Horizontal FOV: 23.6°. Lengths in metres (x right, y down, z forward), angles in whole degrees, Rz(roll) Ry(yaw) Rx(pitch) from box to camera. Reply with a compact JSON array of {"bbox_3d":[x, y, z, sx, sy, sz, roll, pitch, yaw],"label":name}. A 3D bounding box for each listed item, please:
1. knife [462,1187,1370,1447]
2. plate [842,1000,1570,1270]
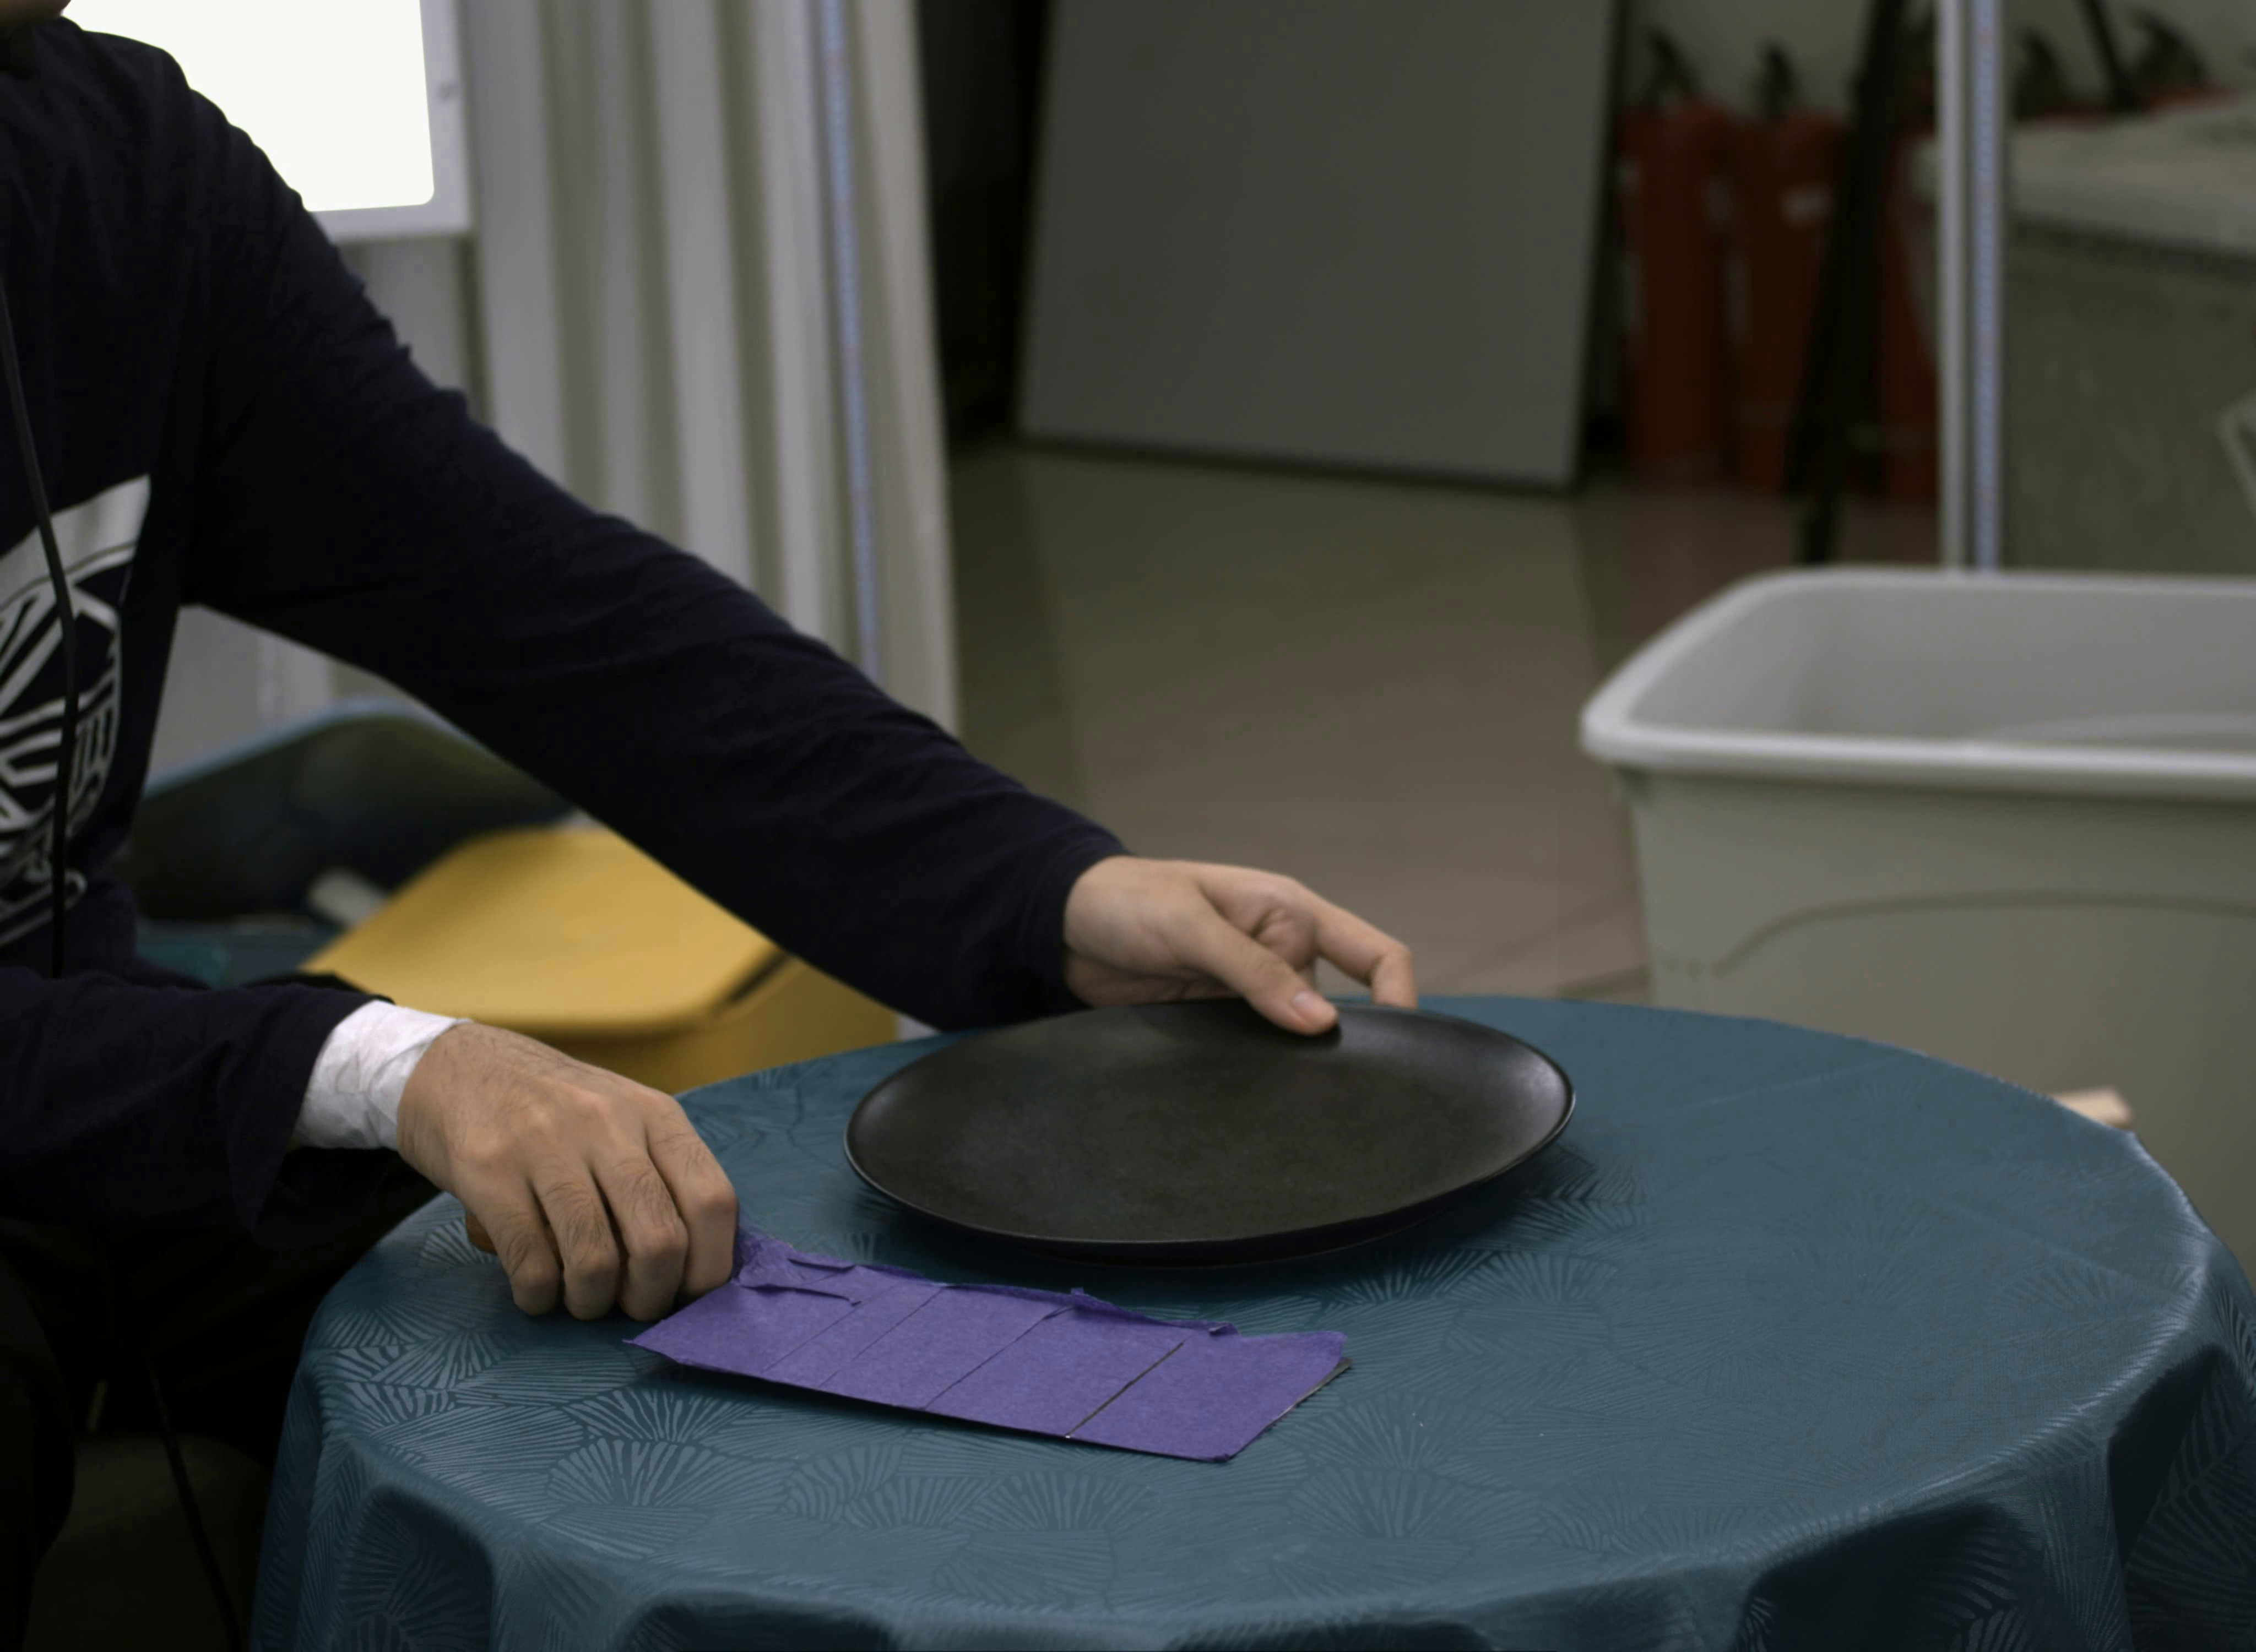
[{"bbox_3d":[-0.085,0.148,1.634,0.316,0.032,0.102,4,15,30],"label":"knife"},{"bbox_3d":[0.026,0.104,1.775,0.241,0.023,0.245,-5,16,0],"label":"plate"}]
